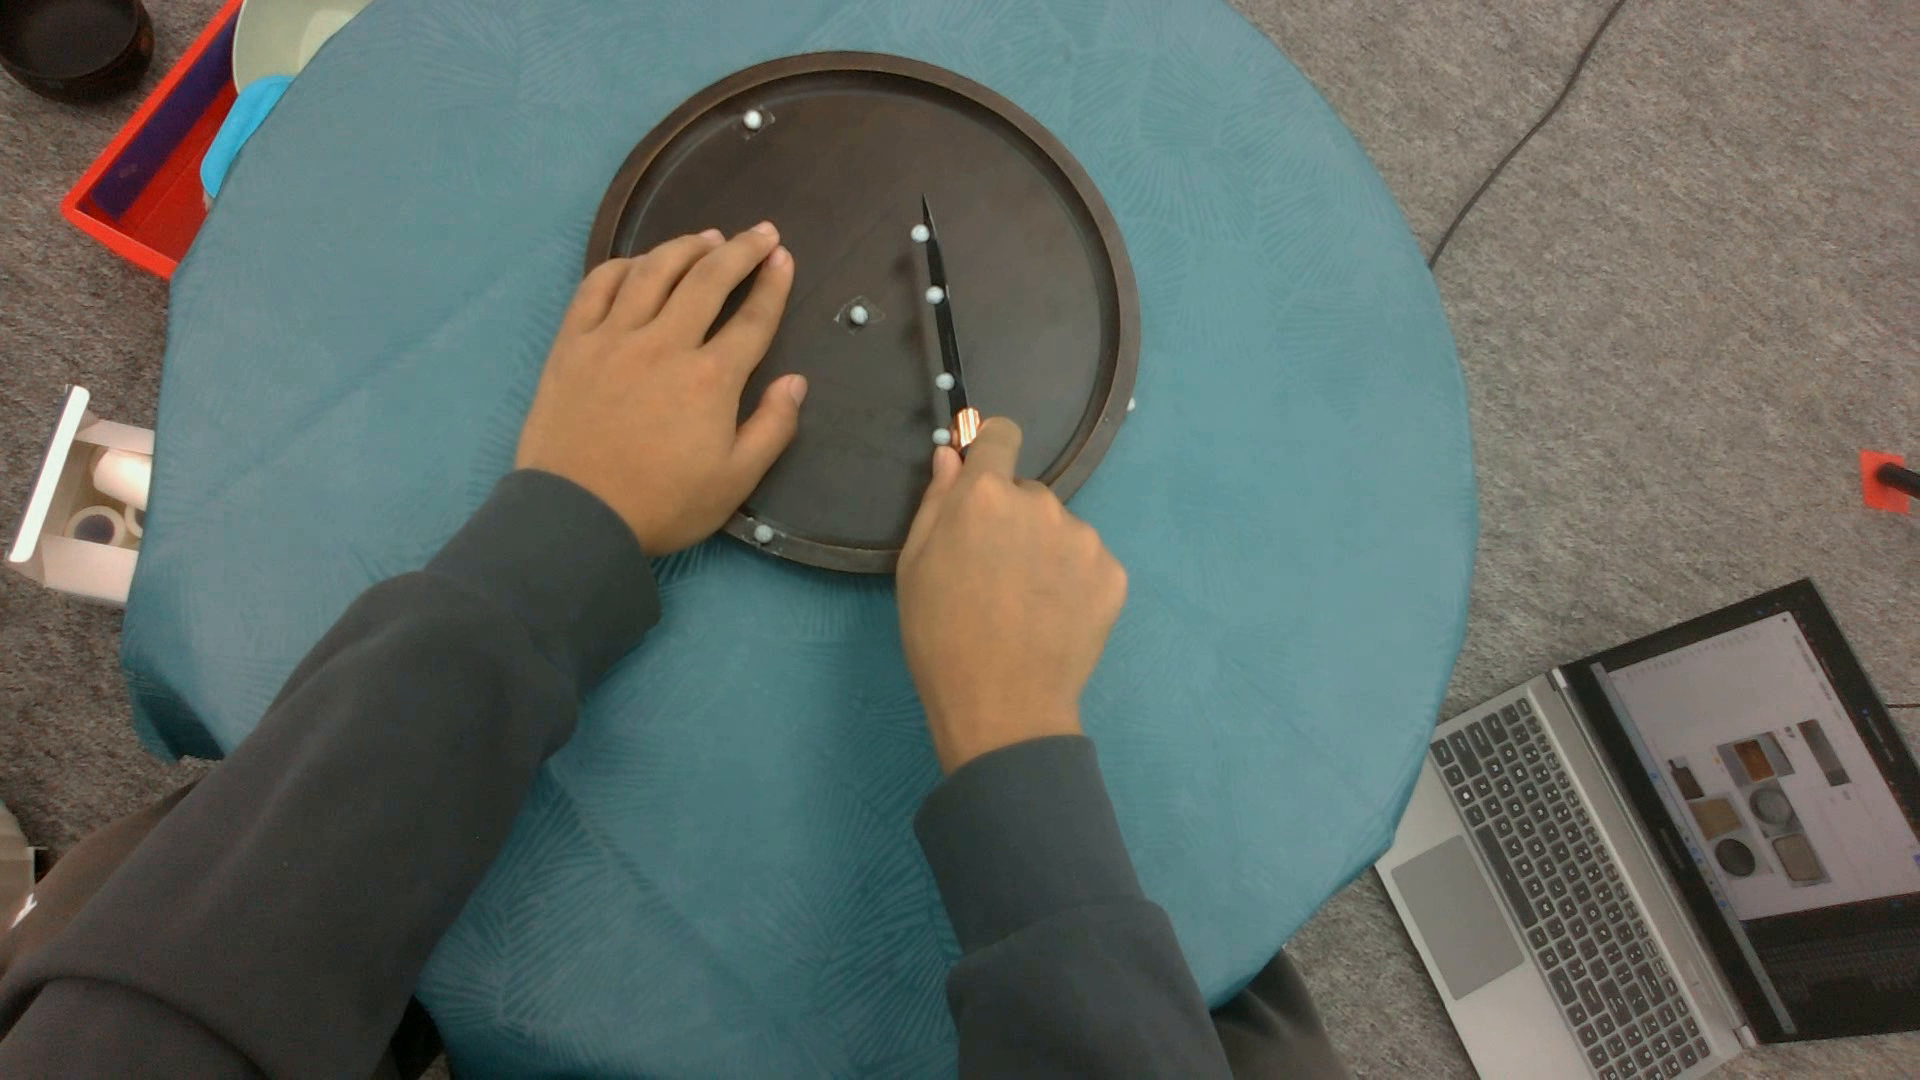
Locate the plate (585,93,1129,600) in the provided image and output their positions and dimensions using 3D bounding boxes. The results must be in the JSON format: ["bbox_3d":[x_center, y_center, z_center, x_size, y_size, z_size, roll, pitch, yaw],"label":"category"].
[{"bbox_3d":[-0.045,-0.095,0.646,0.255,0.029,0.255,3,75,-10],"label":"plate"}]

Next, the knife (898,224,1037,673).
[{"bbox_3d":[0.001,-0.047,0.618,0.017,0.026,0.226,-8,72,-21],"label":"knife"}]
